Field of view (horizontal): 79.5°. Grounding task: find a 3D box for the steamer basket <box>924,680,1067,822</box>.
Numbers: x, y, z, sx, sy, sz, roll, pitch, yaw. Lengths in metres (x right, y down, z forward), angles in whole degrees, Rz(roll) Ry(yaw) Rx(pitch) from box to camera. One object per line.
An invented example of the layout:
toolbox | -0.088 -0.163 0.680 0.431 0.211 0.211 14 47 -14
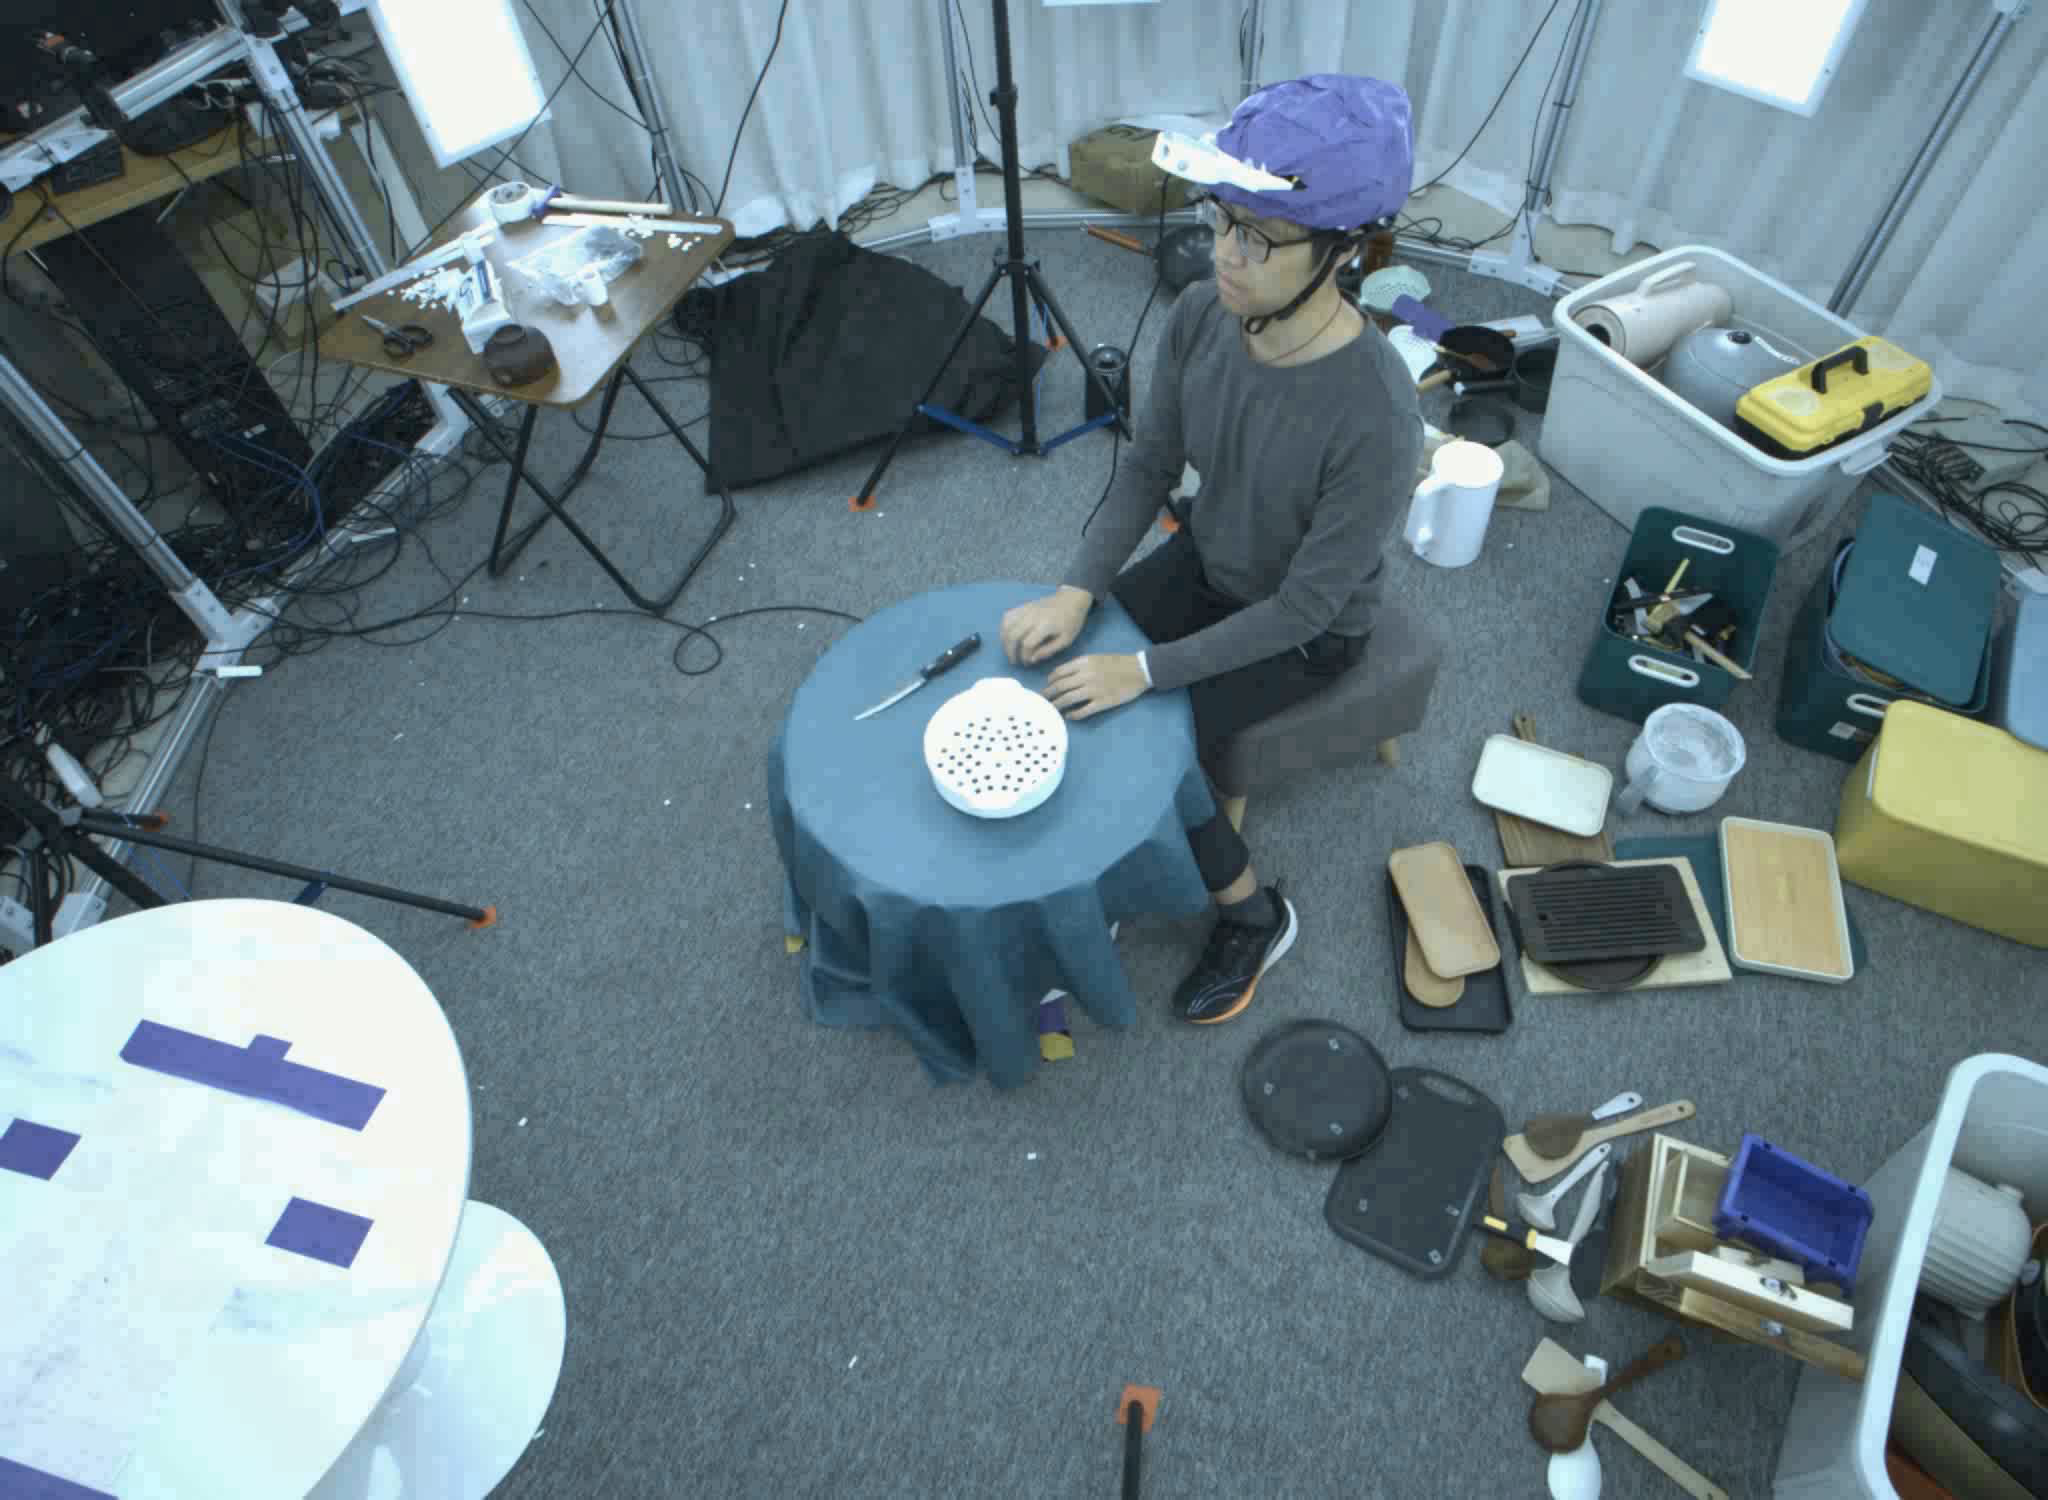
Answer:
steamer basket | -0.039 0.006 1.749 0.202 0.070 0.228 0 54 1

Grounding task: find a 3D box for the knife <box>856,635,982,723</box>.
knife | -0.162 -0.109 1.870 0.240 0.016 0.024 -36 58 -19
